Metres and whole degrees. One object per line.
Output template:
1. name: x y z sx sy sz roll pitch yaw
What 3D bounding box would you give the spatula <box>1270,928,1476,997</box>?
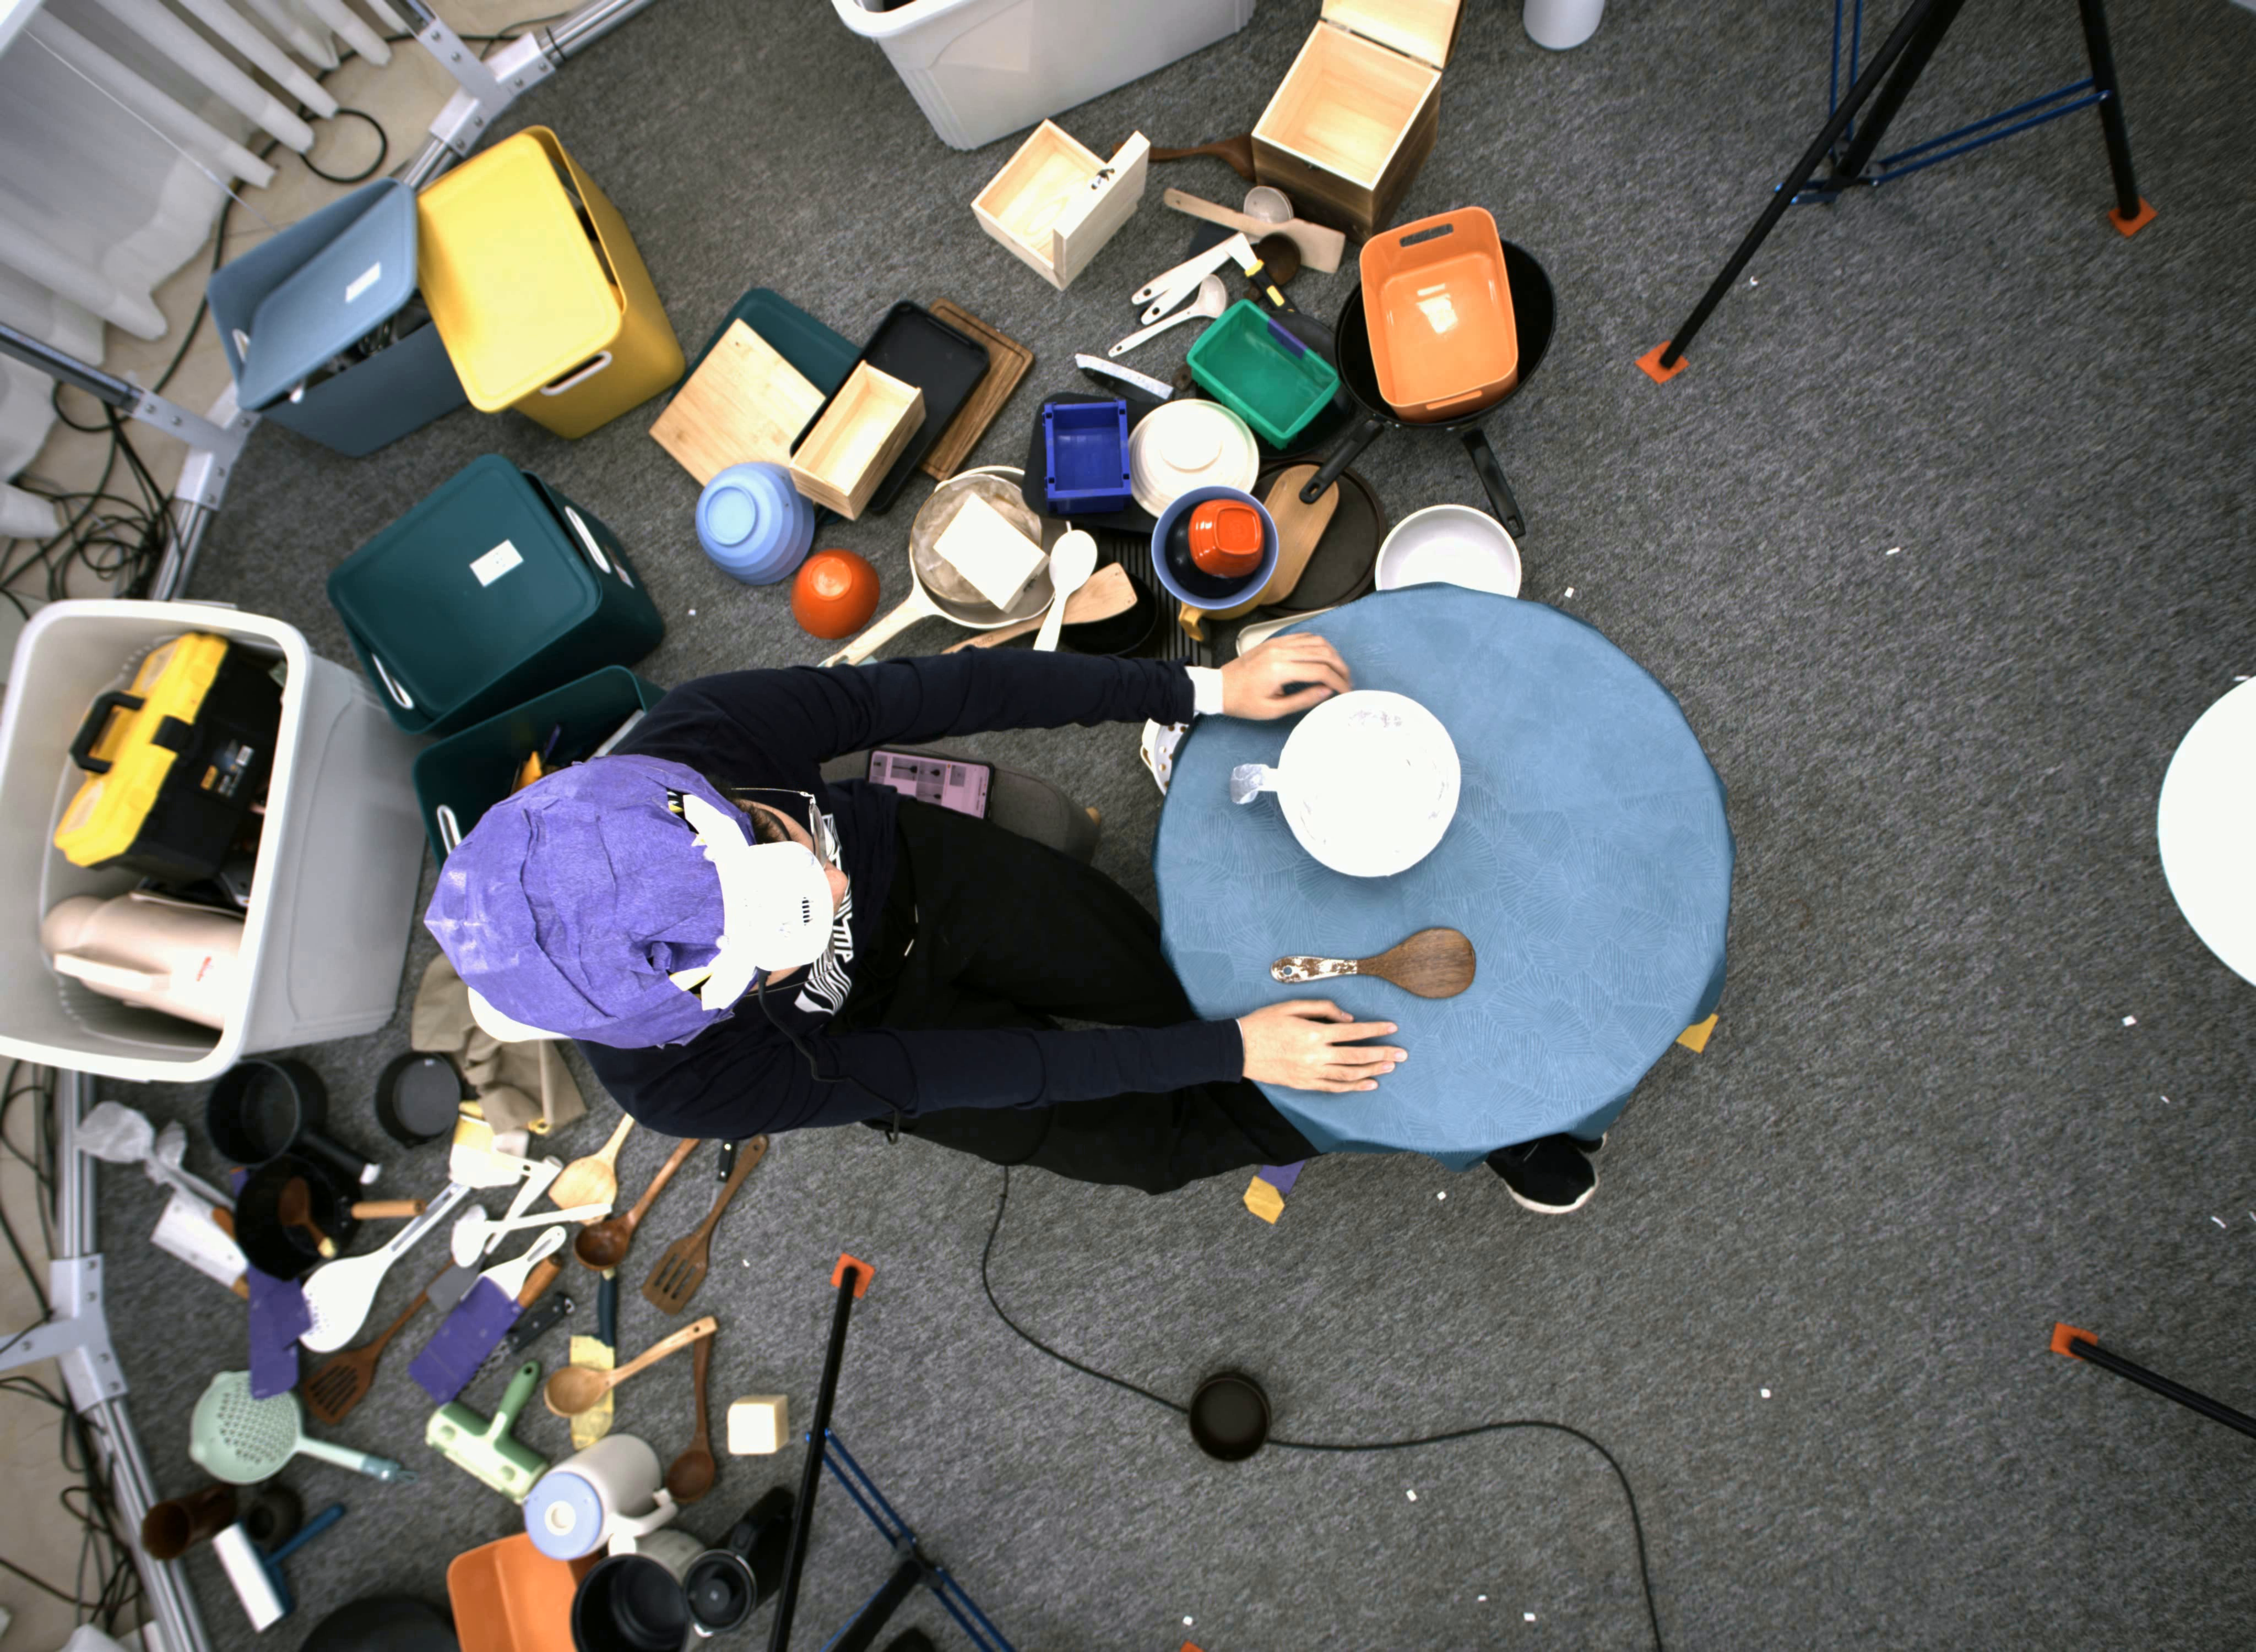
1. spatula: 0.257 0.145 1.456 0.217 0.009 0.071 -3 85 11

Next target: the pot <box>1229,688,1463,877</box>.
1. pot: 0.217 -0.041 1.405 0.234 0.137 0.177 1 83 9
